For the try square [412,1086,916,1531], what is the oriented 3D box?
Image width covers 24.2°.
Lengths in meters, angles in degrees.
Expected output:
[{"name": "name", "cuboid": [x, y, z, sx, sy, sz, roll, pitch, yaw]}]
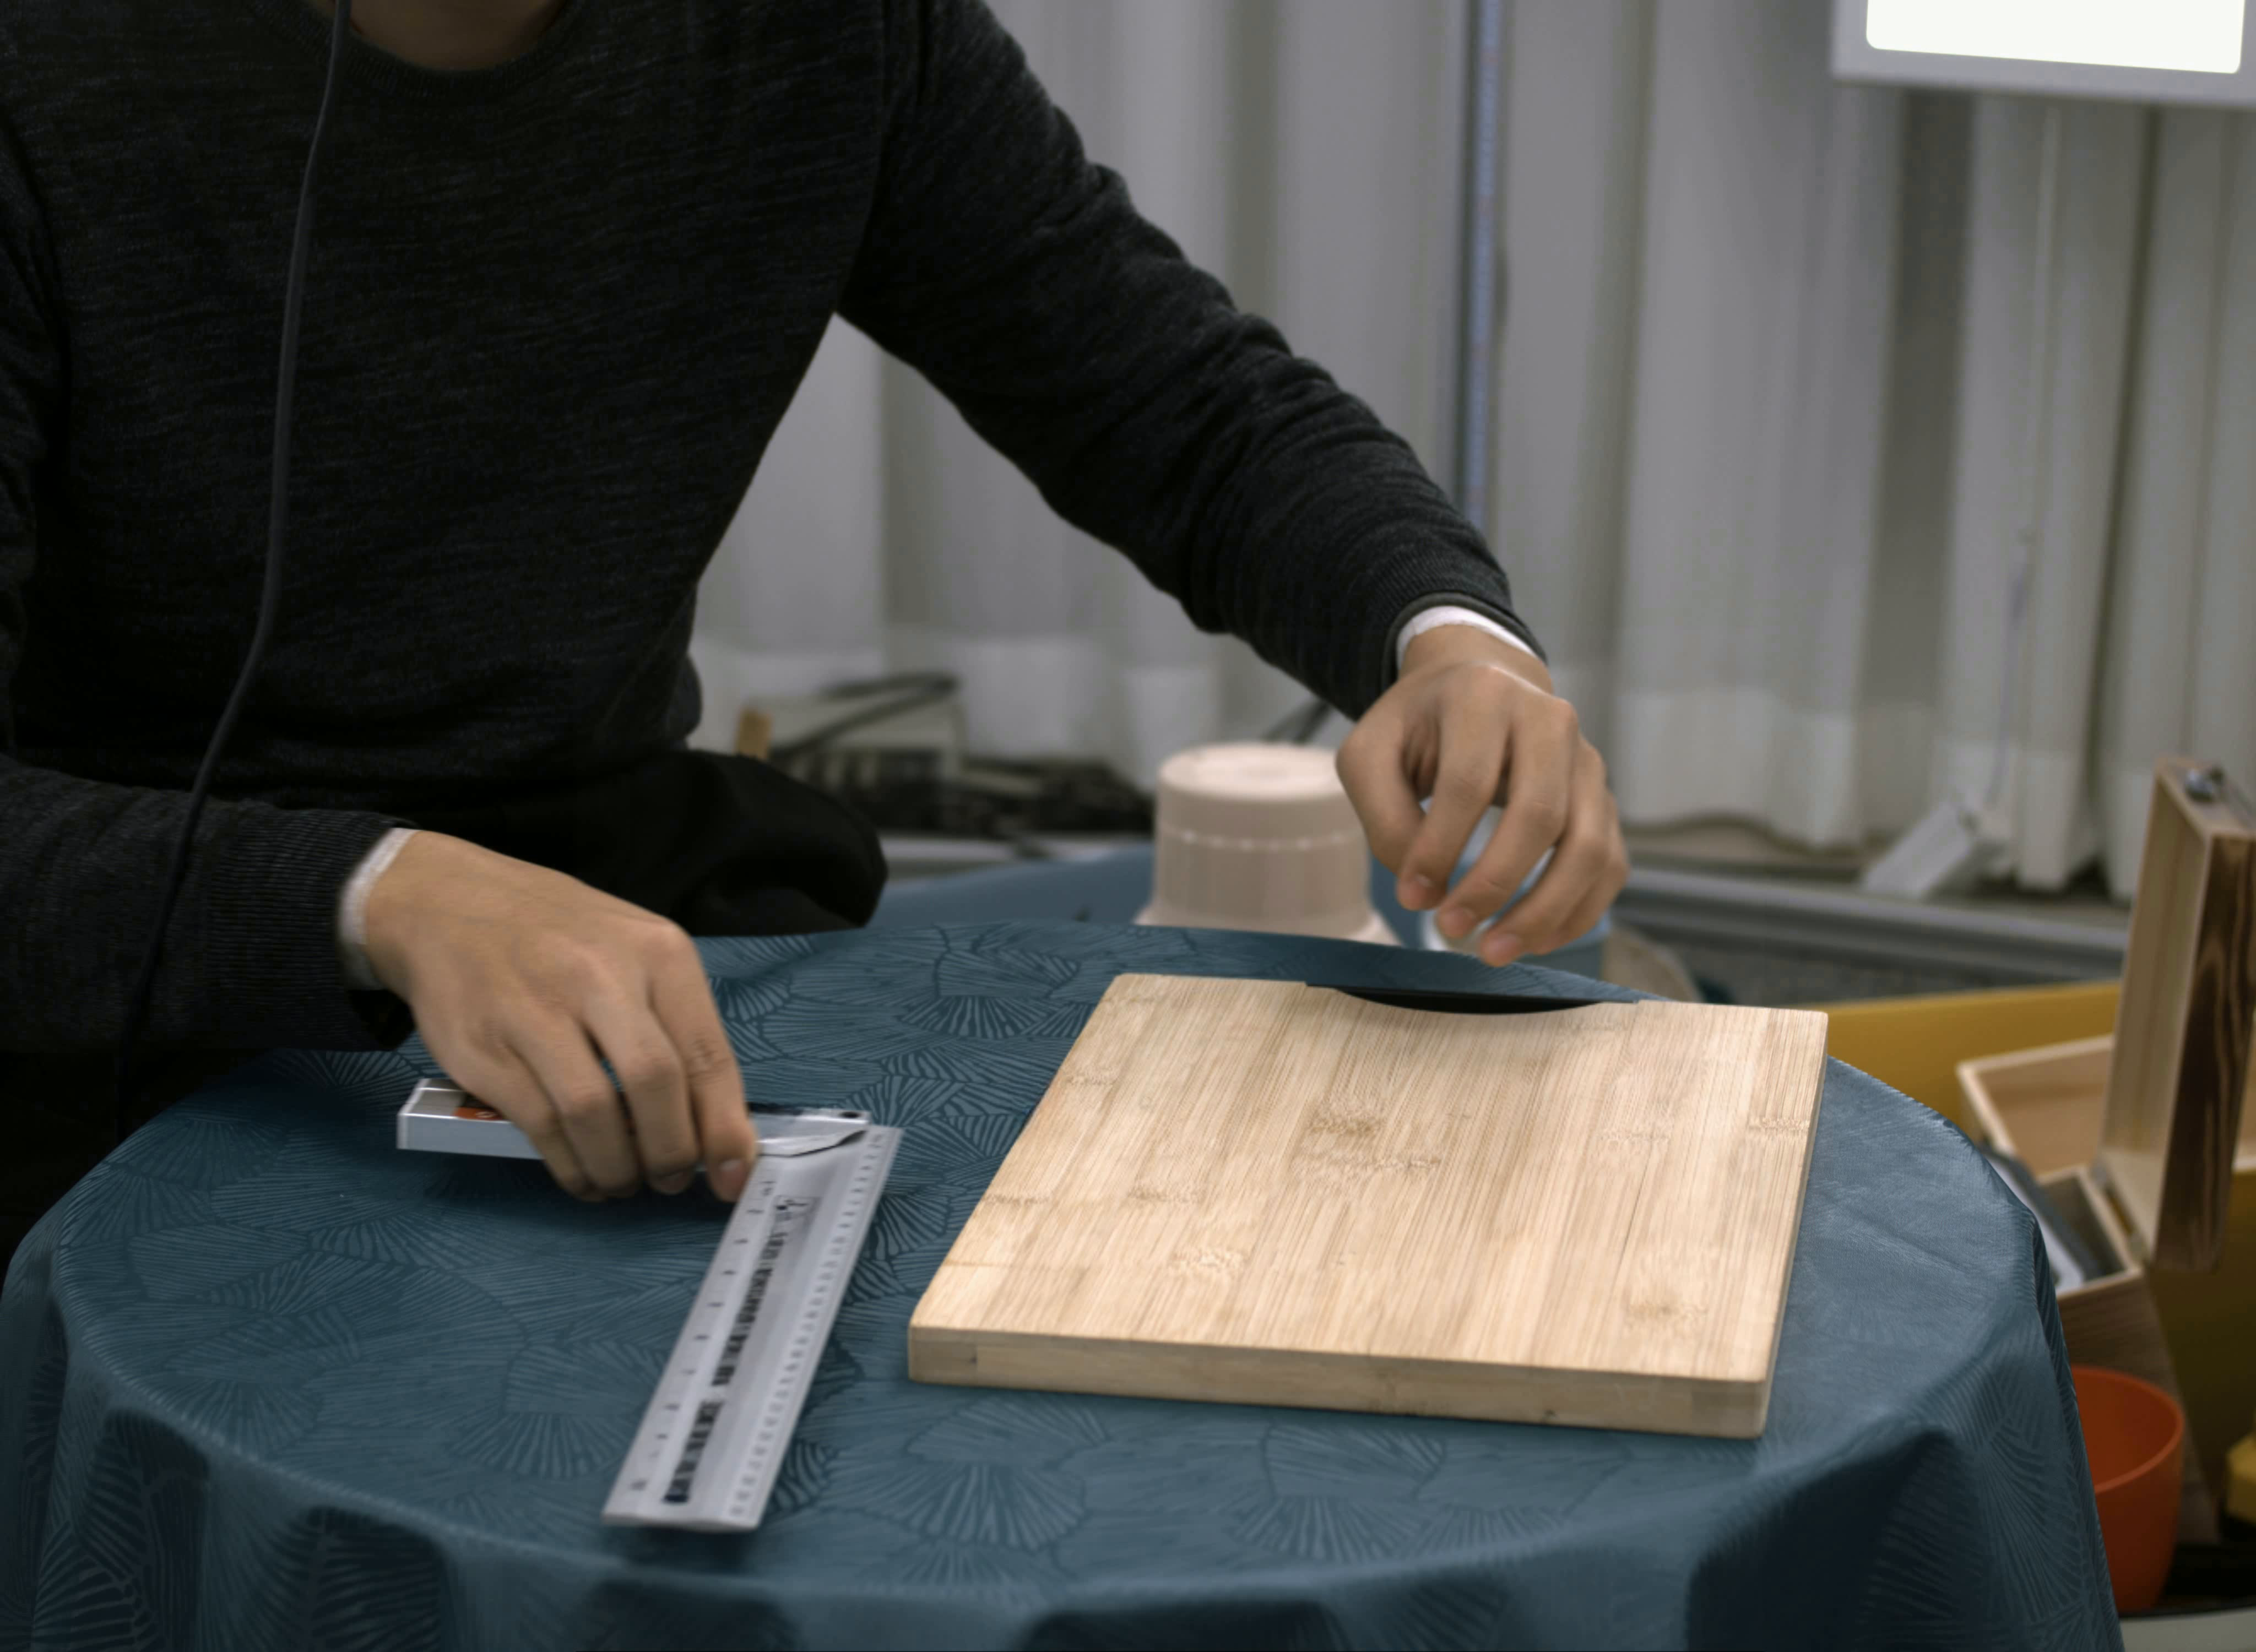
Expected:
[{"name": "try square", "cuboid": [-0.153, 0.131, 1.483, 0.151, 0.016, 0.311, 3, 16, 4]}]

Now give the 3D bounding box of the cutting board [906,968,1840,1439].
[{"name": "cutting board", "cuboid": [0.087, 0.108, 1.610, 0.249, 0.024, 0.348, 3, 16, 8]}]
